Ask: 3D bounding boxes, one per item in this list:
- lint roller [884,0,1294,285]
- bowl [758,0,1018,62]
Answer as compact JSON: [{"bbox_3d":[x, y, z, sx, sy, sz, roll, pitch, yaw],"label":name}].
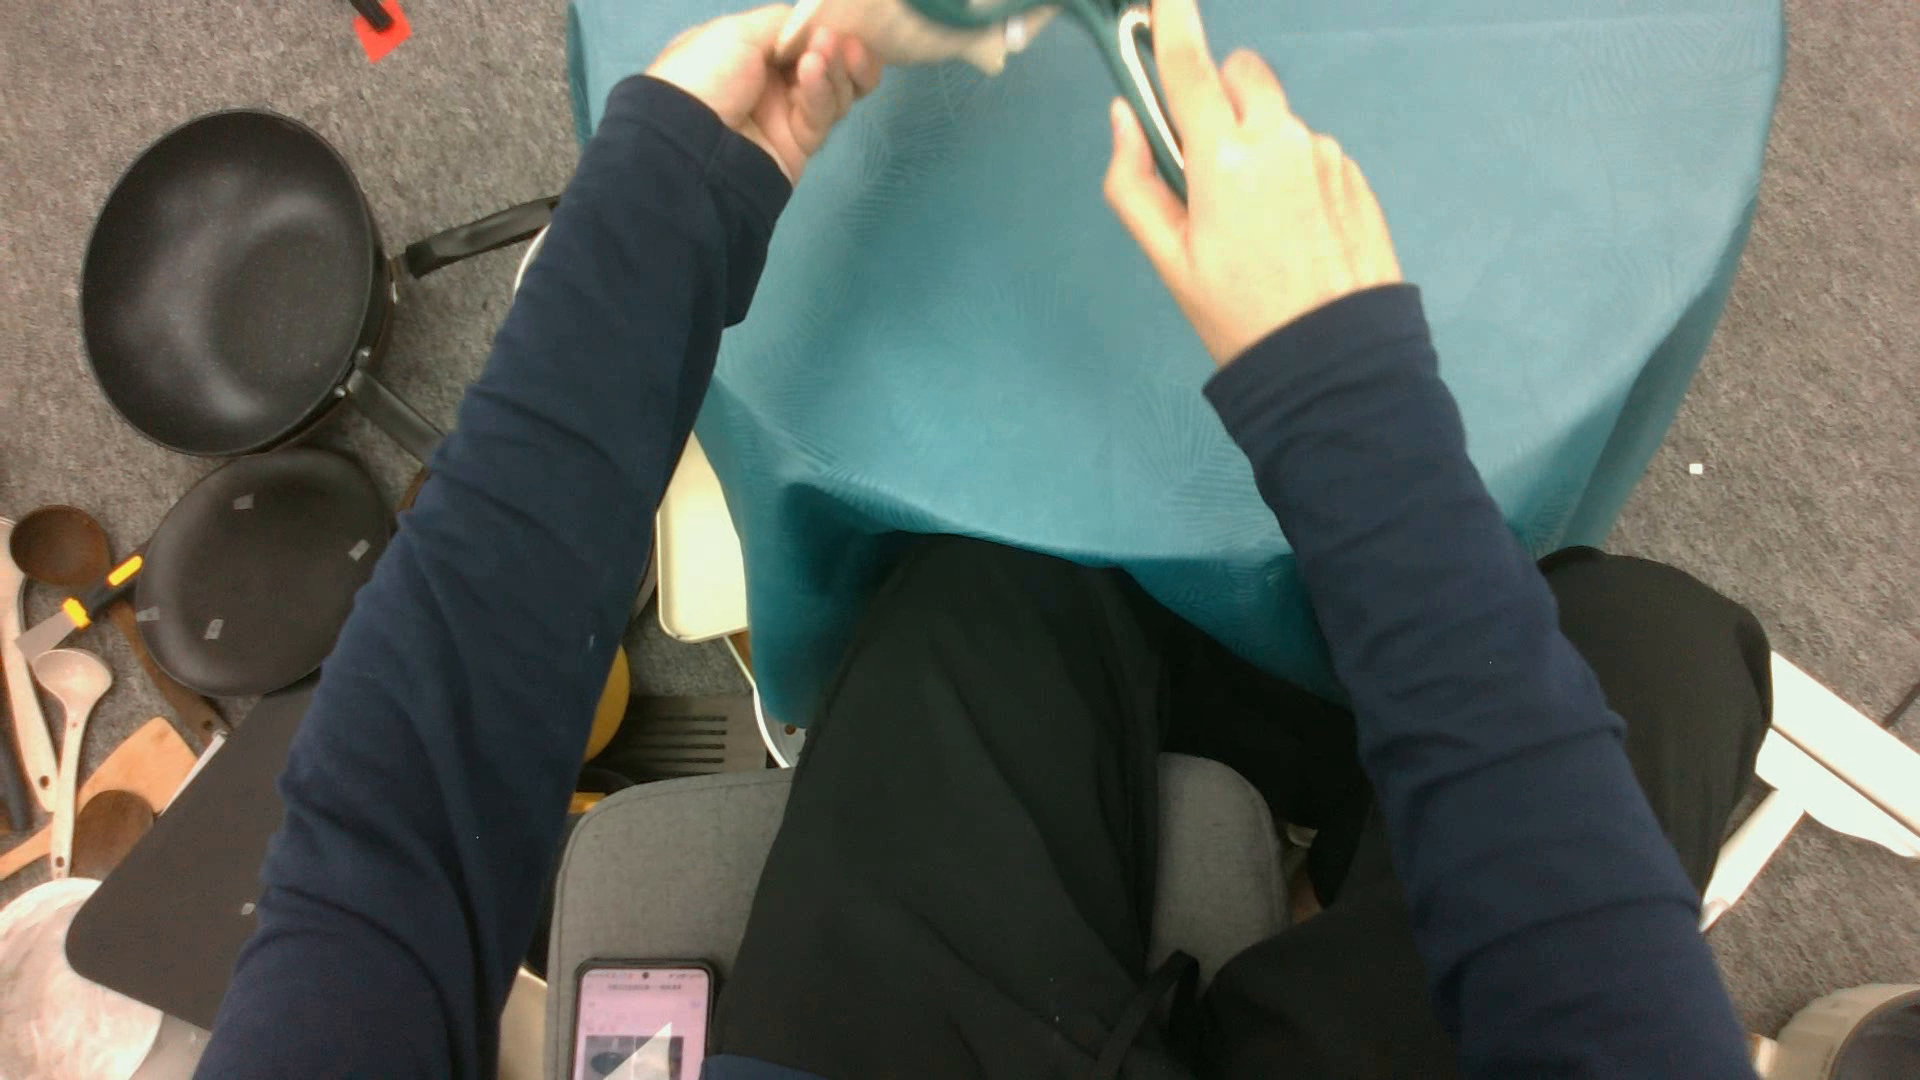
[{"bbox_3d":[0.068,-0.172,0.507,0.134,0.048,0.180,-36,83,-13],"label":"lint roller"},{"bbox_3d":[0.001,-0.270,0.581,0.078,0.203,0.204,31,79,-18],"label":"bowl"}]
